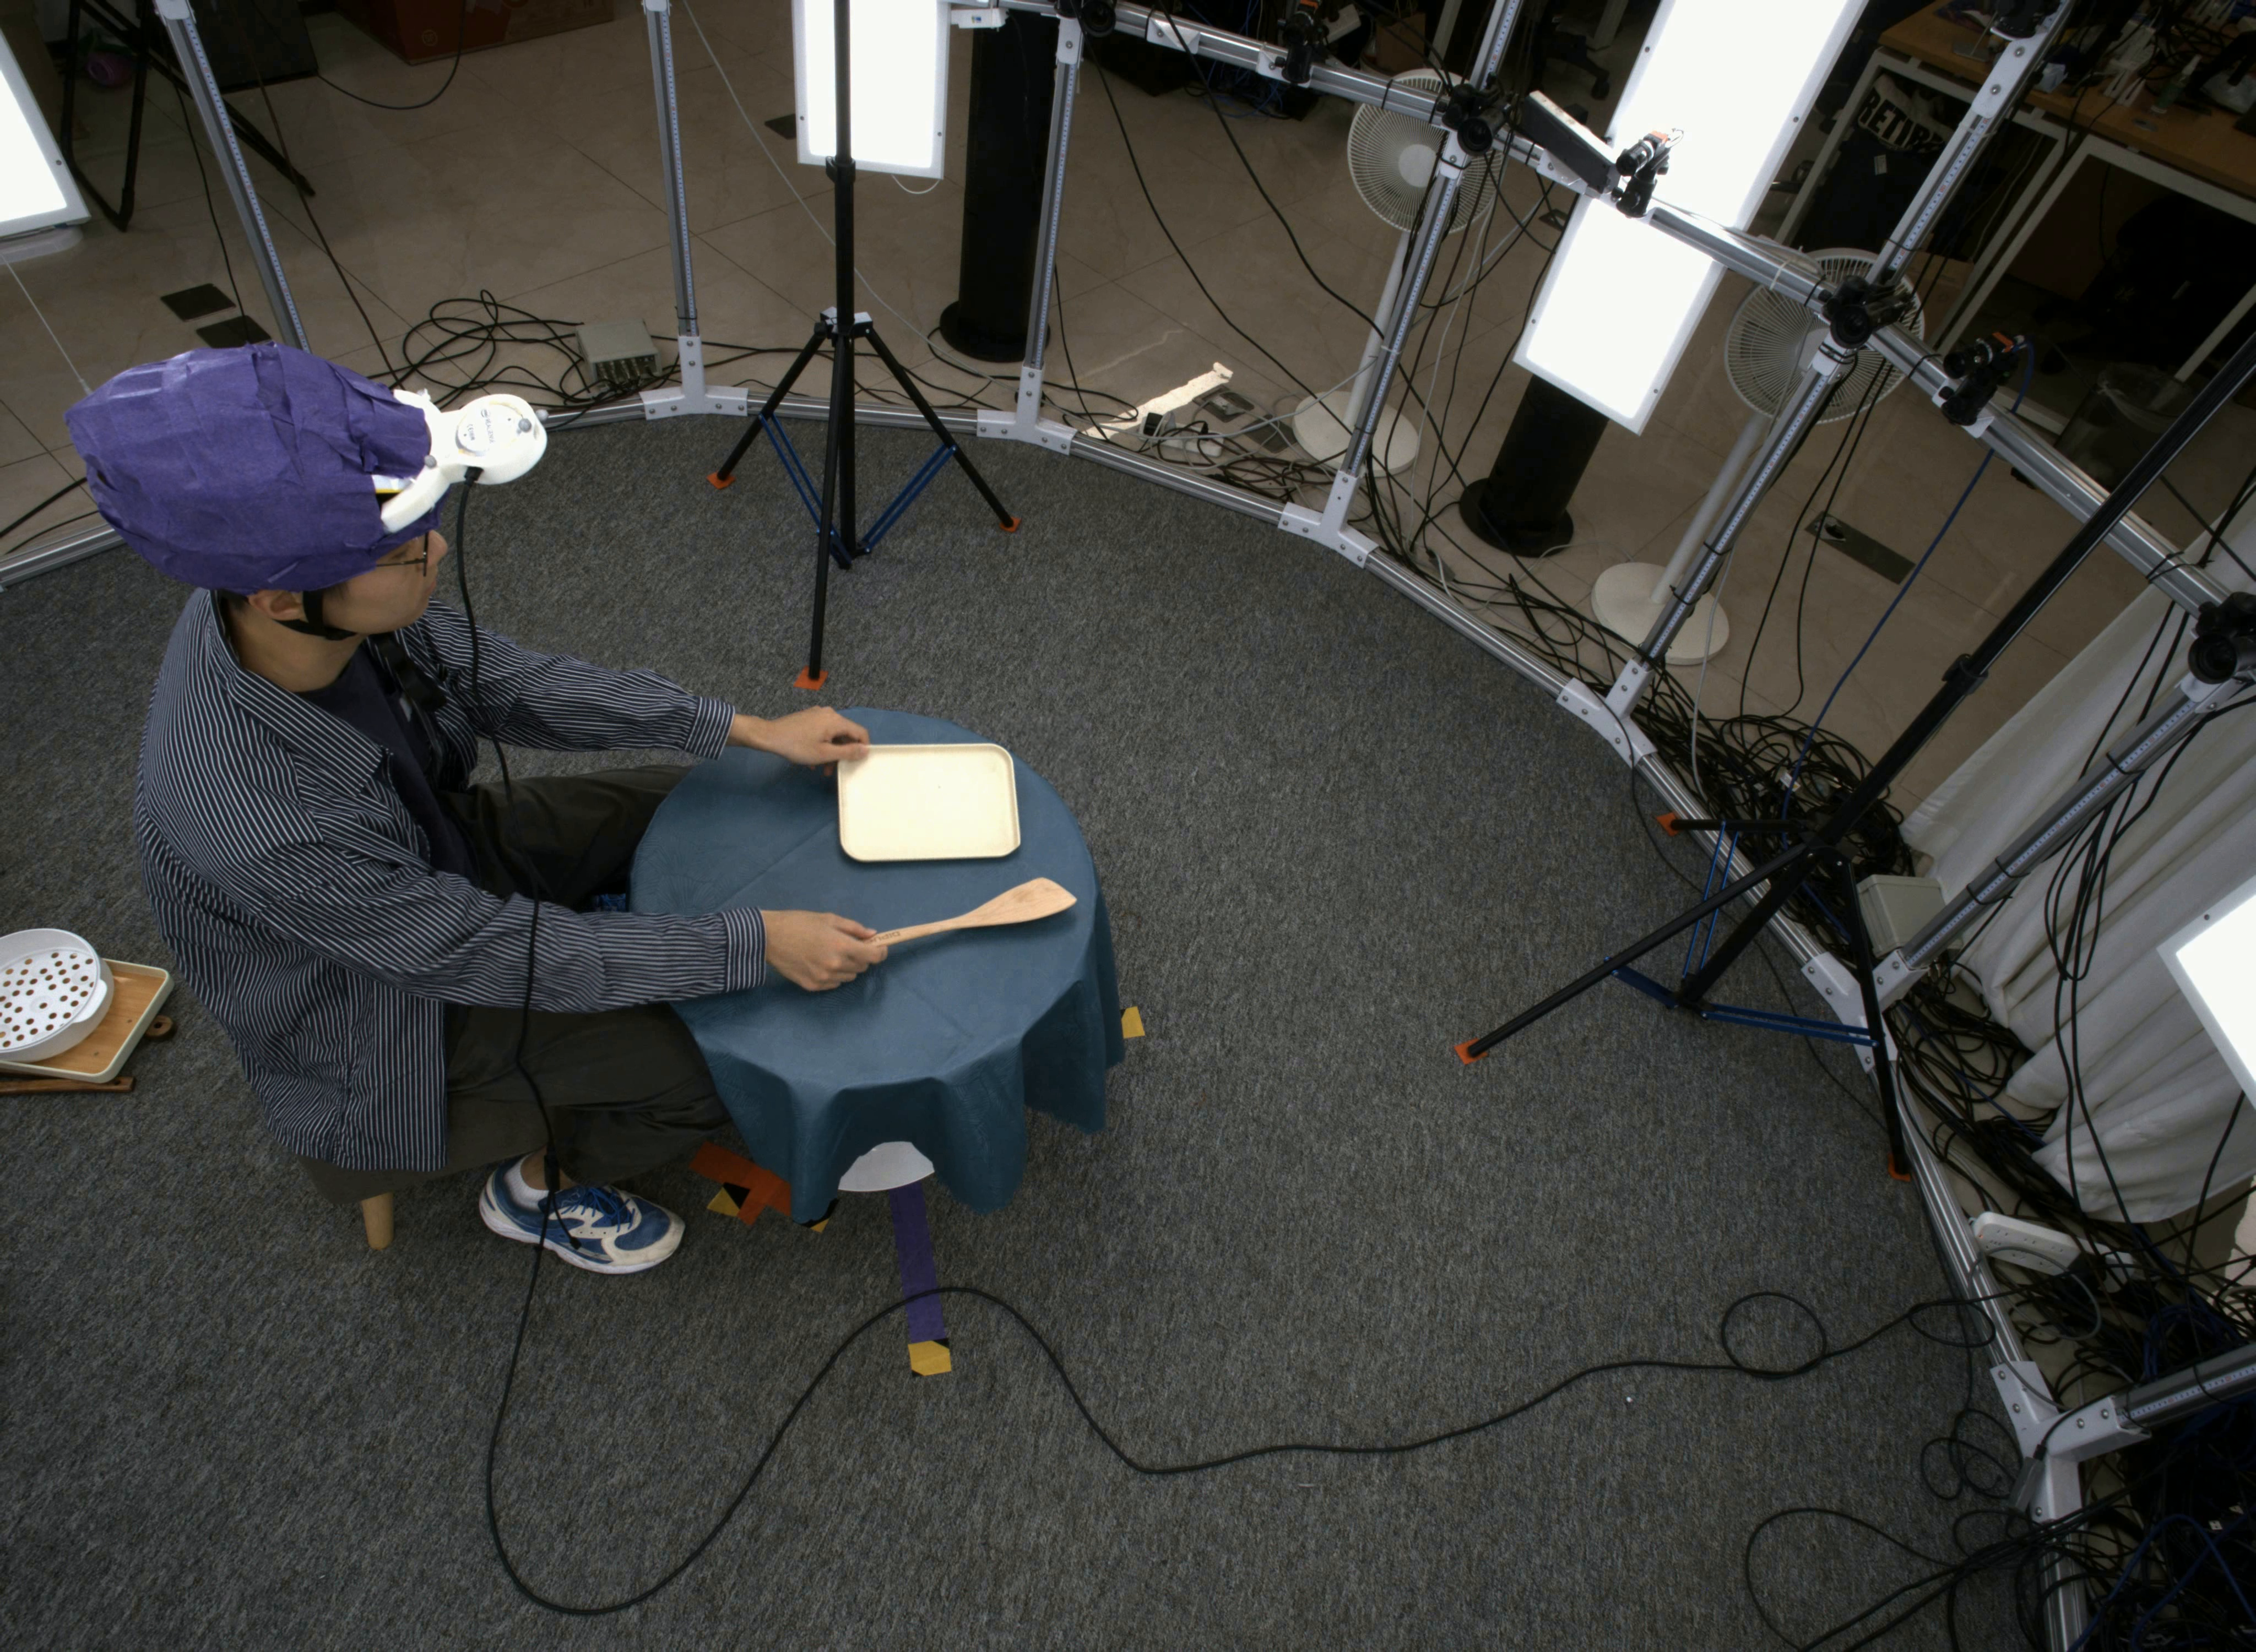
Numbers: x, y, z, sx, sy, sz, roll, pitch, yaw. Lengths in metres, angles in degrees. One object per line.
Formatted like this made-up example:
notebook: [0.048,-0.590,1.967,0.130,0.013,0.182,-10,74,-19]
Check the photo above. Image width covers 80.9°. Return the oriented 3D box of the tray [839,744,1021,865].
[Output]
tray: [-0.269,-0.030,1.768,0.240,0.017,0.169,-2,68,-16]

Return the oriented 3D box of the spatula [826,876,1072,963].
spatula: [-0.230,0.120,1.667,0.330,0.017,0.077,-14,35,-29]
